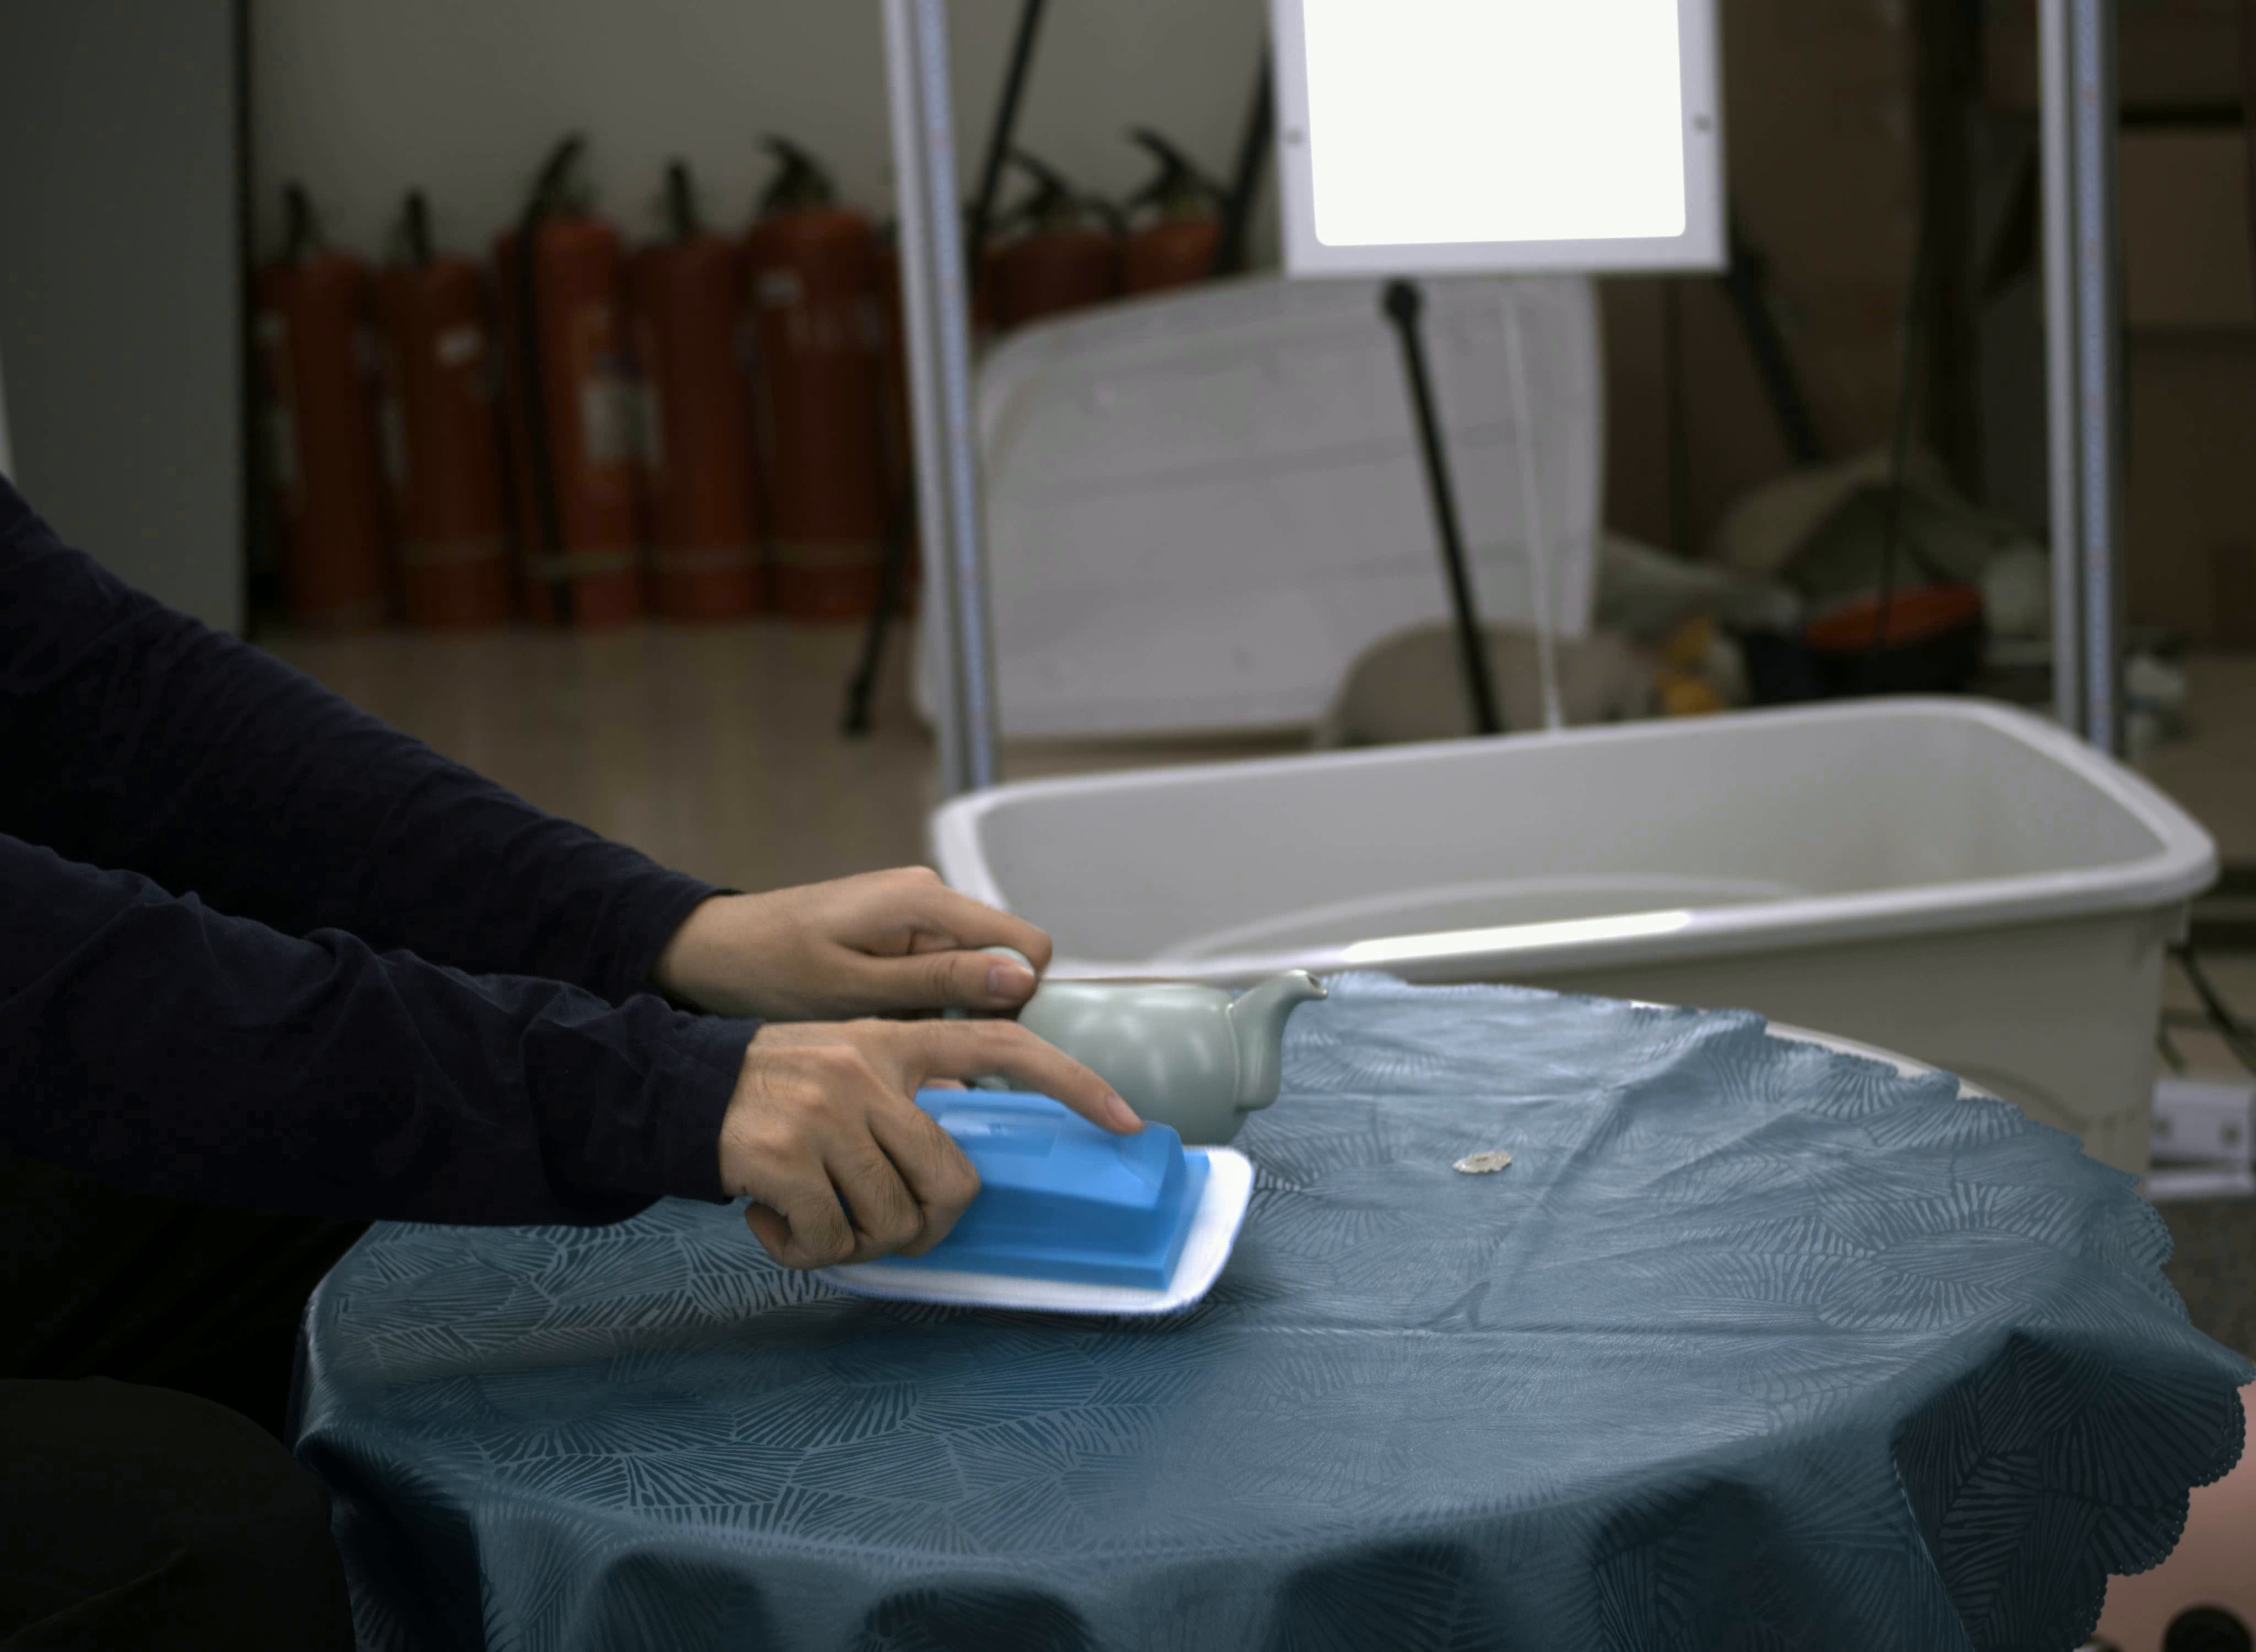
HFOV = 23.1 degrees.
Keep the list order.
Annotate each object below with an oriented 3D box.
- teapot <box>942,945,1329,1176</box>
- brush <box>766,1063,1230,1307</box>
[{"bbox_3d":[0.001,0.083,1.909,0.146,0.075,0.086,6,6,27],"label":"teapot"},{"bbox_3d":[-0.043,0.113,1.779,0.146,0.056,0.082,7,37,20],"label":"brush"}]
